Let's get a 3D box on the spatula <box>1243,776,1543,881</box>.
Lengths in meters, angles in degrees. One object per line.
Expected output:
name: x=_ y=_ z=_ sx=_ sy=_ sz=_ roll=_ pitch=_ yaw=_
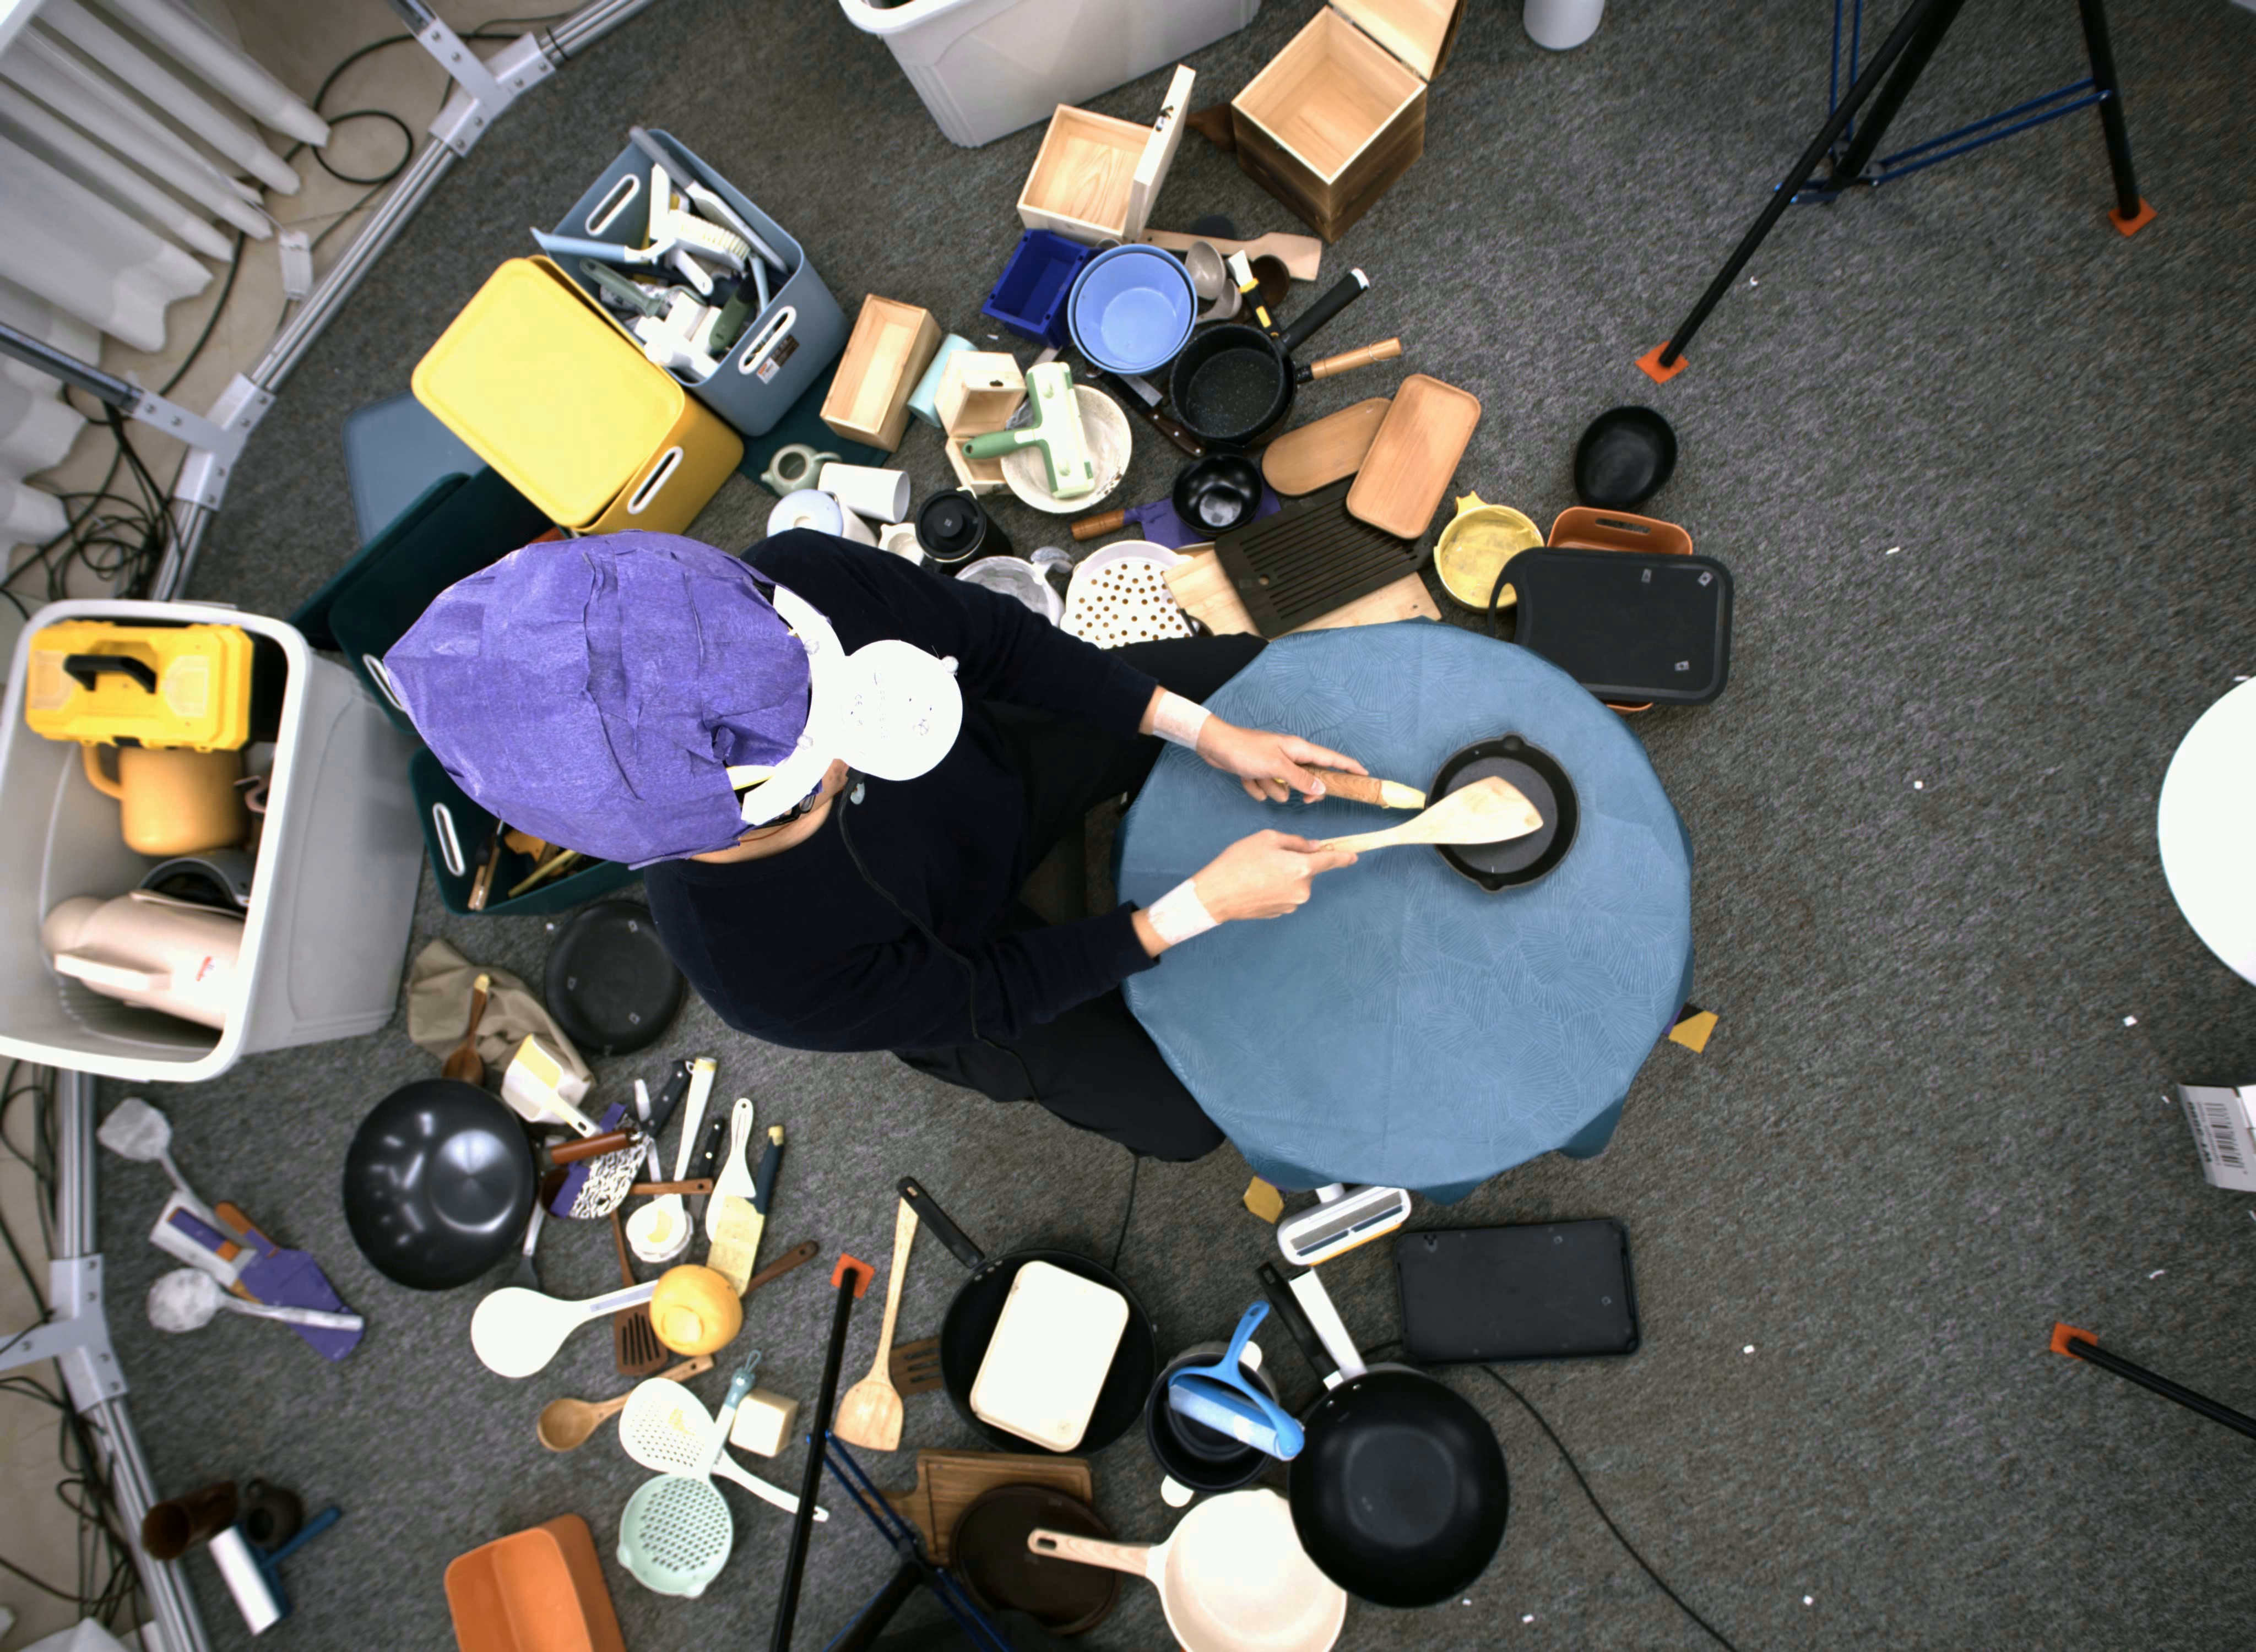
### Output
spatula: x=0.262 y=0.006 z=1.375 sx=0.325 sy=0.017 sz=0.078 roll=-13 pitch=54 yaw=-19

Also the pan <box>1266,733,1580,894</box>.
pan: x=0.303 y=-0.031 z=1.423 sx=0.324 sy=0.049 sz=0.168 roll=12 pitch=89 yaw=5
